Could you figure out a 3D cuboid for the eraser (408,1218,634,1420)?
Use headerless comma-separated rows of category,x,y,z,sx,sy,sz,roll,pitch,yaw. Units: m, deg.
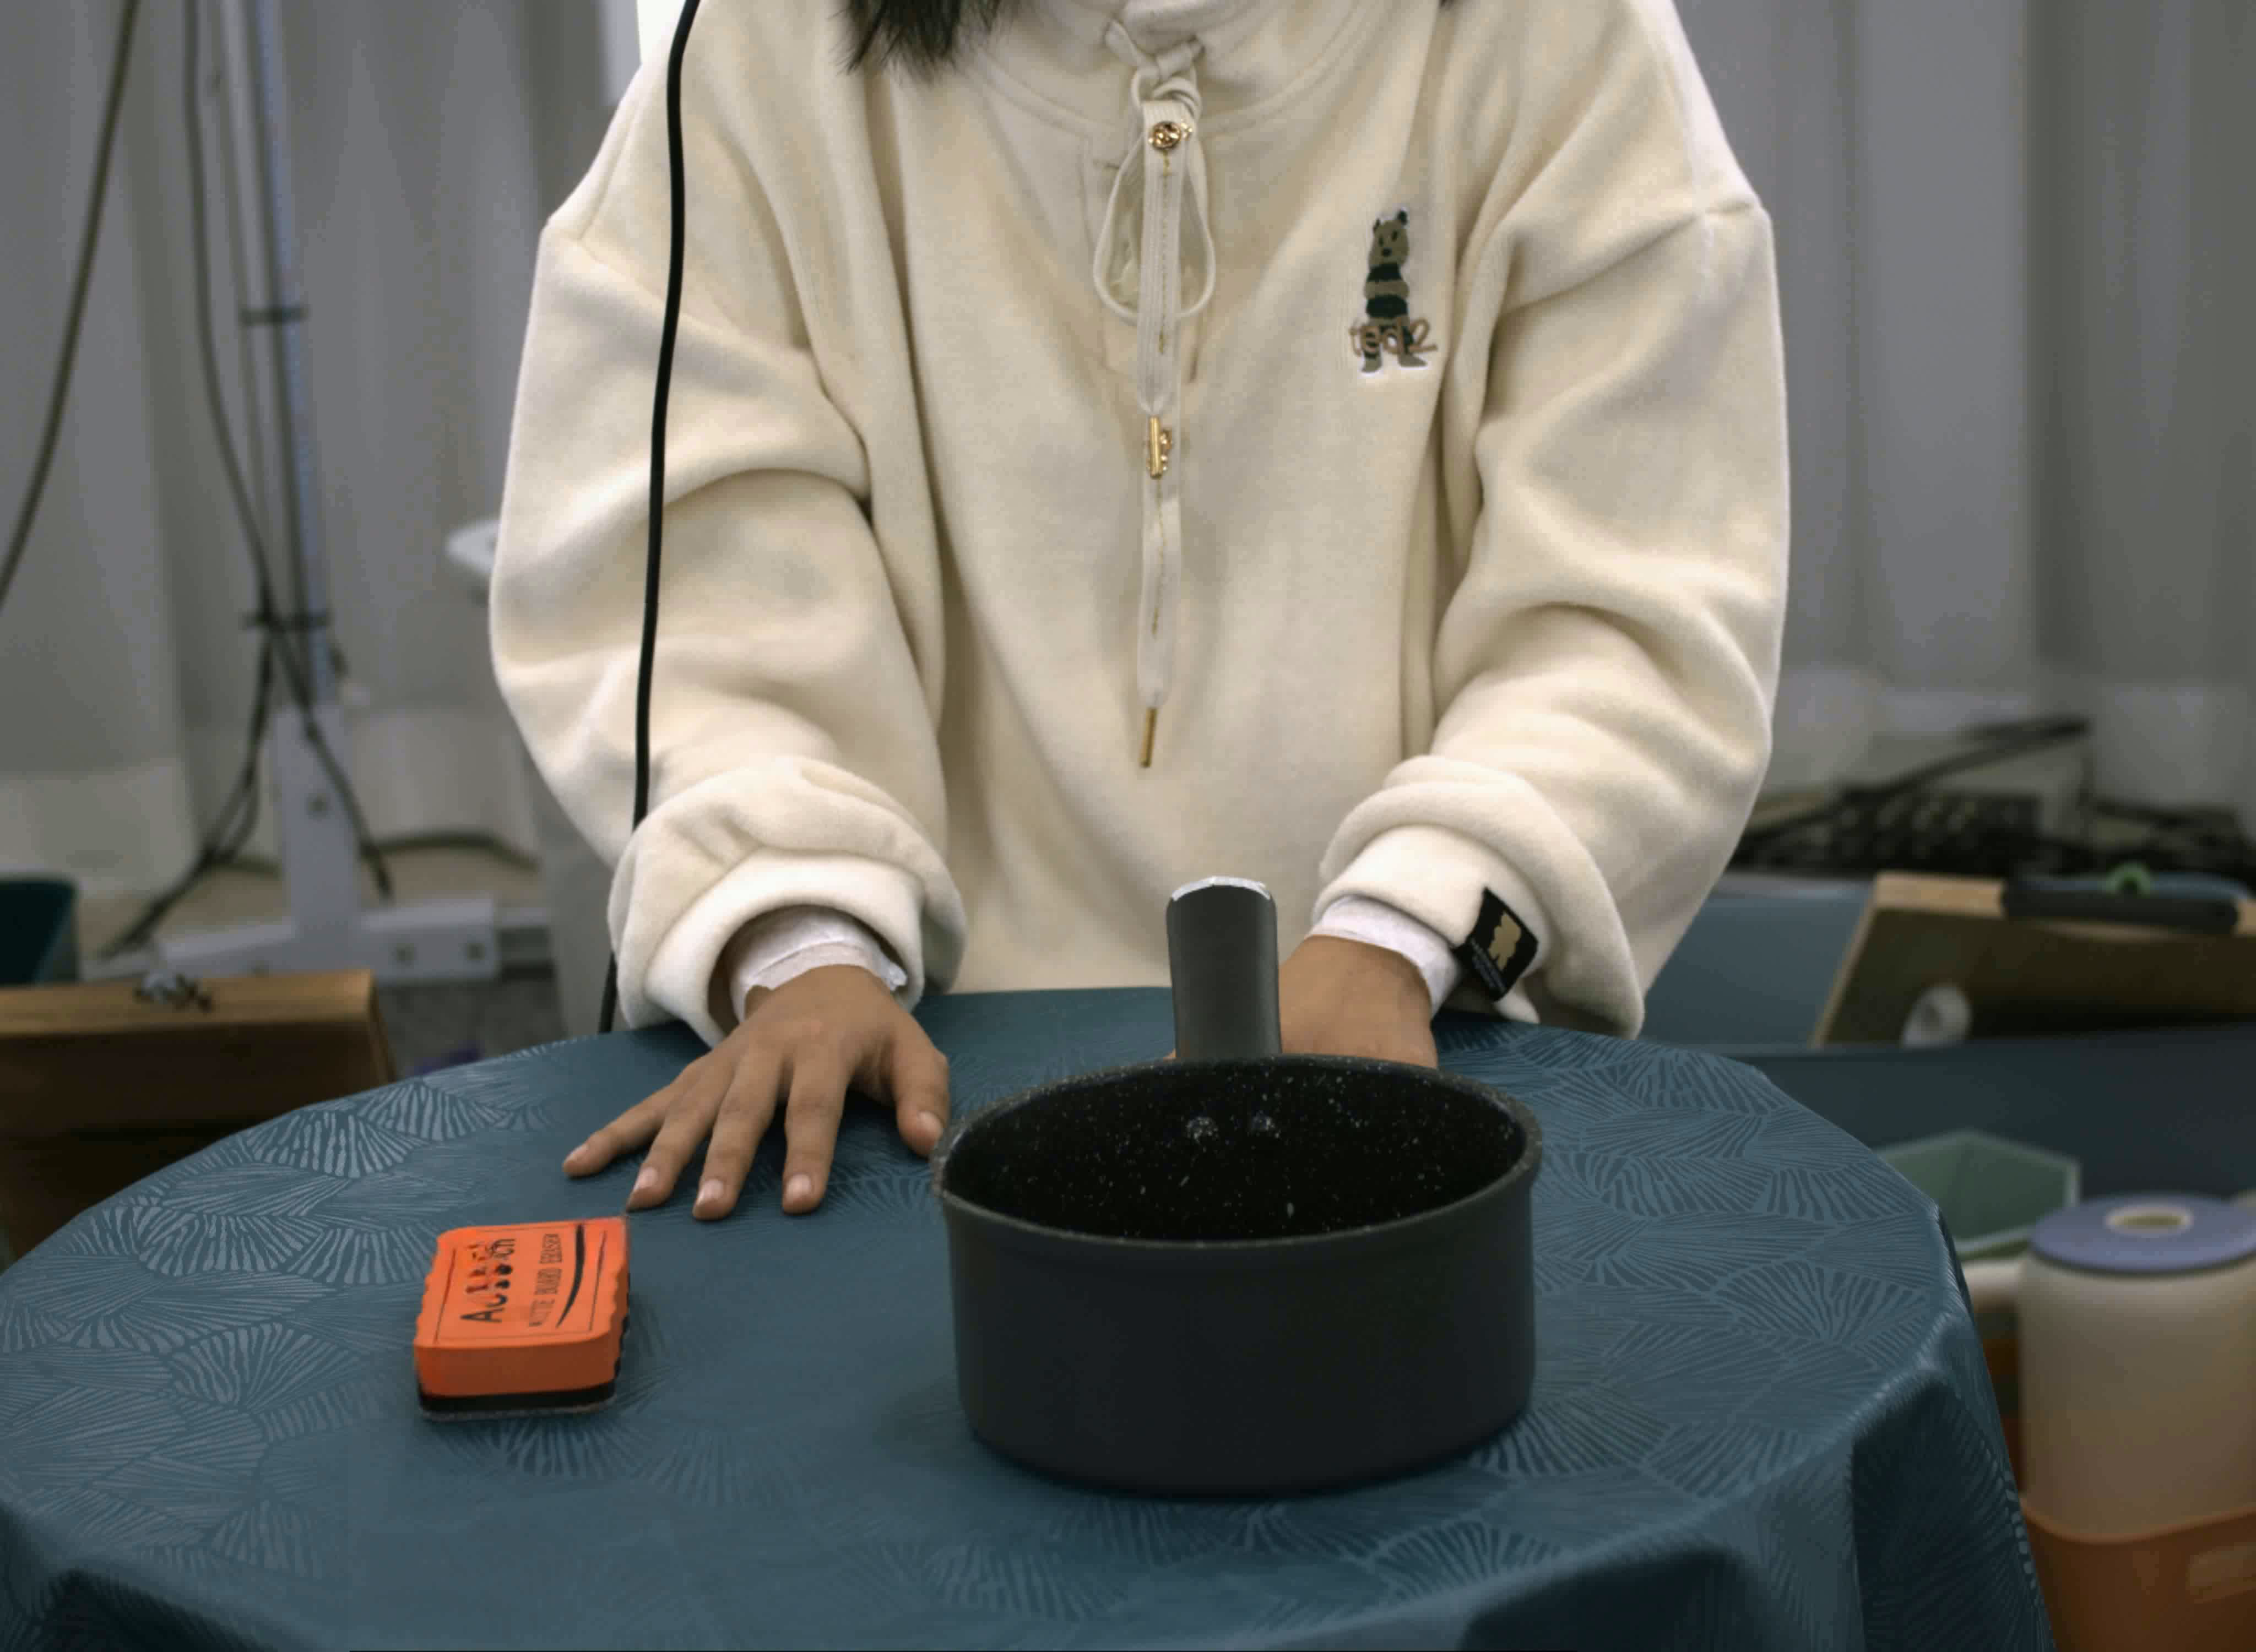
eraser,-0.176,0.143,1.596,0.059,0.023,0.109,-3,15,0

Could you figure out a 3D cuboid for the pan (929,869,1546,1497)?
pan,0.035,0.100,1.600,0.171,0.086,0.331,-2,16,3
